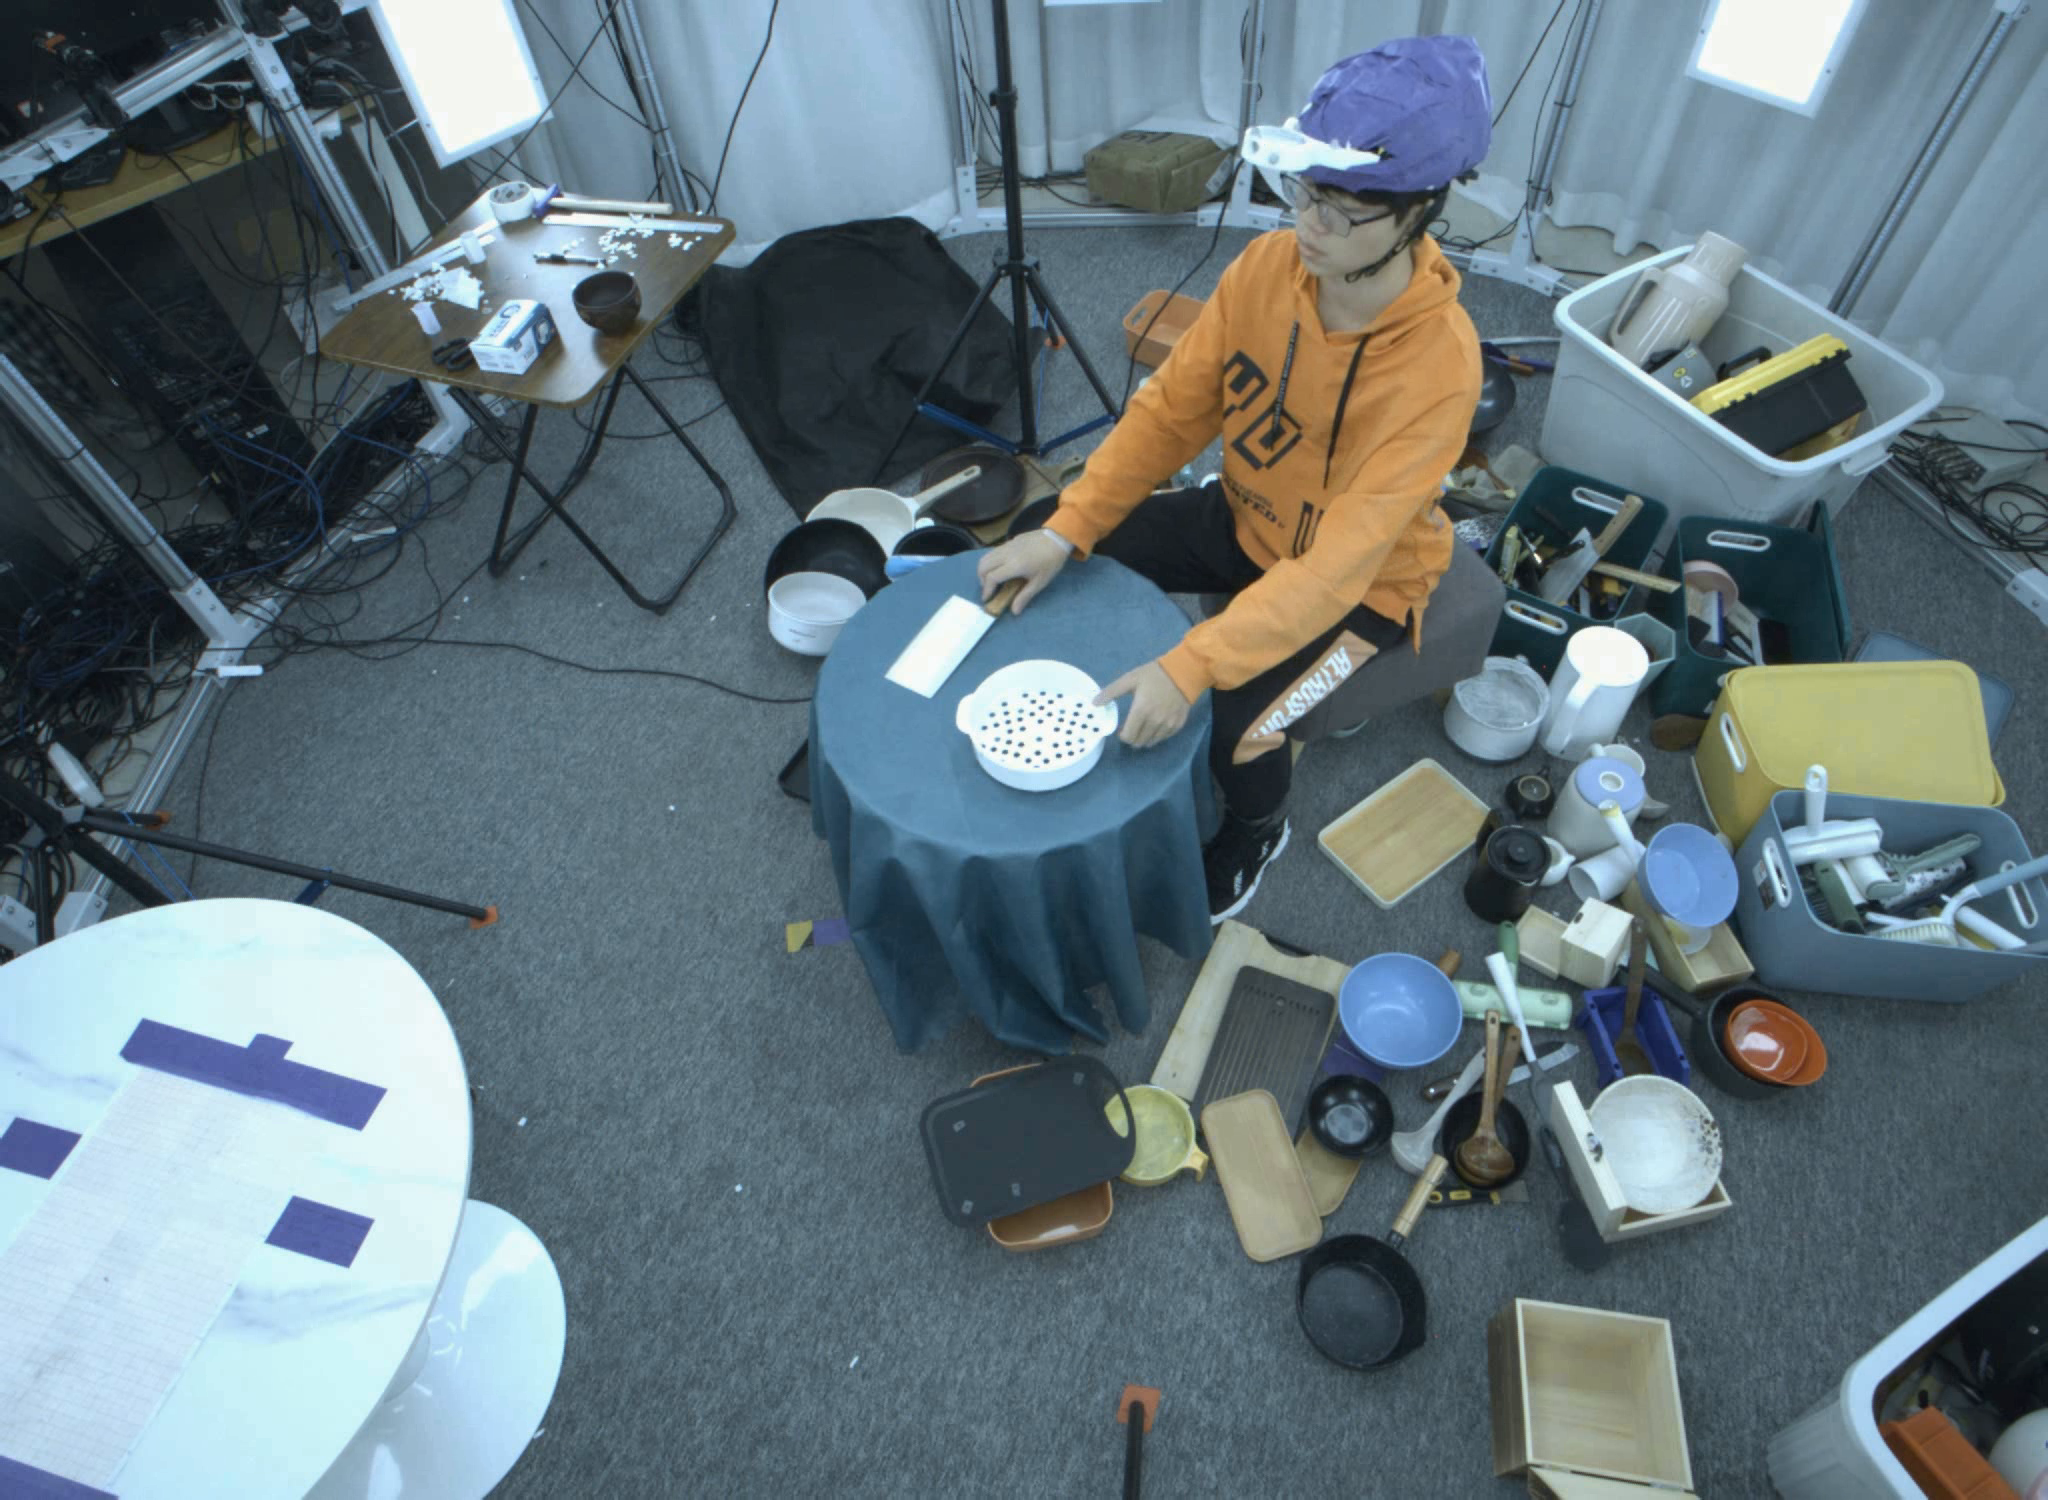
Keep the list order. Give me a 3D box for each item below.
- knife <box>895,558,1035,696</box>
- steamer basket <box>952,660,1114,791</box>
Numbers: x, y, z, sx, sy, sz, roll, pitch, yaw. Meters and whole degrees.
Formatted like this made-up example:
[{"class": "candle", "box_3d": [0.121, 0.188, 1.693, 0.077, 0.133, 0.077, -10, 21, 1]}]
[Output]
[{"class": "knife", "box_3d": [-0.095, -0.204, 1.926, 0.091, 0.021, 0.307, 26, 62, 21]}, {"class": "steamer basket", "box_3d": [0.015, -0.033, 1.768, 0.230, 0.070, 0.200, 0, 54, 5]}]
